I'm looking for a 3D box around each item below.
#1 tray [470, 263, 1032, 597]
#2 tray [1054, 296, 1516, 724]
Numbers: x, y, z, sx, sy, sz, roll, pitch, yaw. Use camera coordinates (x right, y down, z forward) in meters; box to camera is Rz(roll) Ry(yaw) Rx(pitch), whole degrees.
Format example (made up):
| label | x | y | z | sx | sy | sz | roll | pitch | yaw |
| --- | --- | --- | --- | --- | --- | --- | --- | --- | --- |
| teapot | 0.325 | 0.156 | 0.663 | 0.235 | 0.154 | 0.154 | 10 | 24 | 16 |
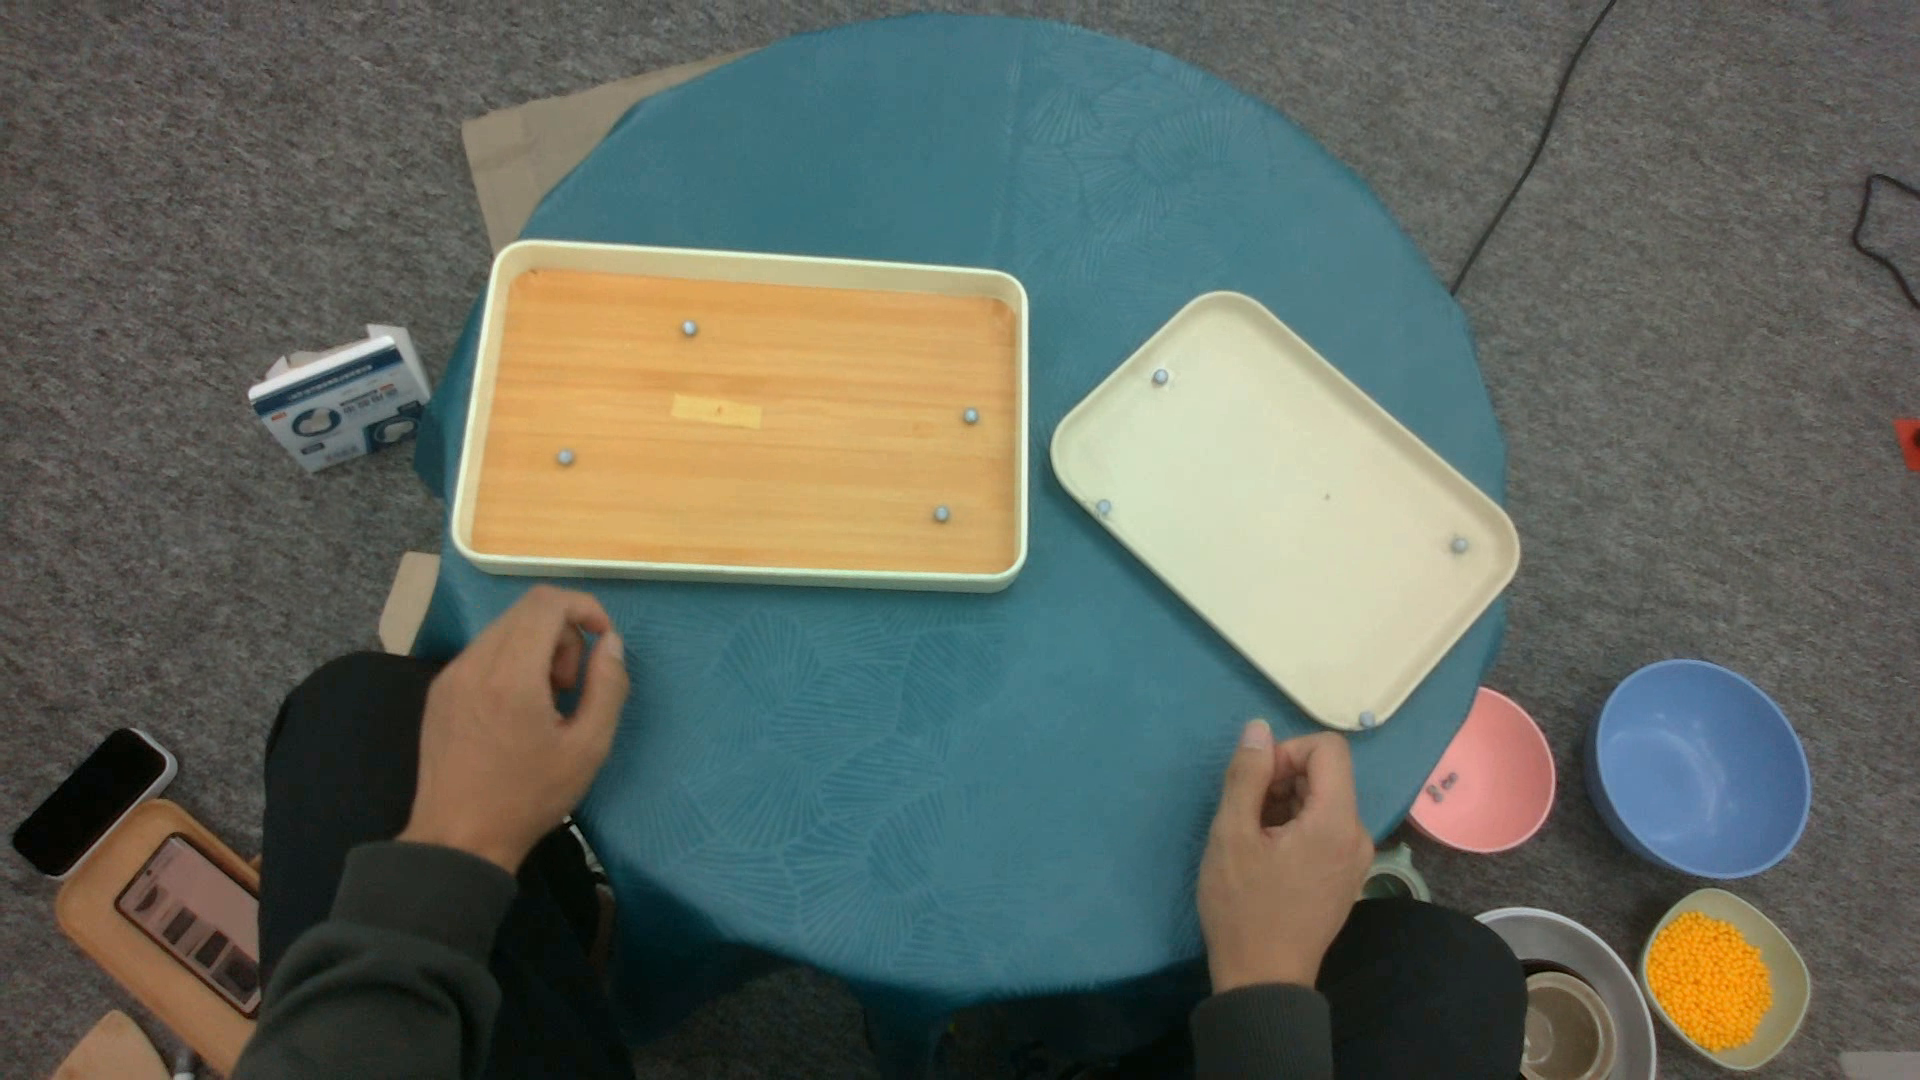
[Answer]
| label | x | y | z | sx | sy | sz | roll | pitch | yaw |
| --- | --- | --- | --- | --- | --- | --- | --- | --- | --- |
| tray | -0.111 | -0.063 | 0.775 | 0.300 | 0.027 | 0.192 | 1 | 69 | -3 |
| tray | 0.184 | -0.022 | 0.786 | 0.240 | 0.017 | 0.172 | 43 | 72 | 12 |
